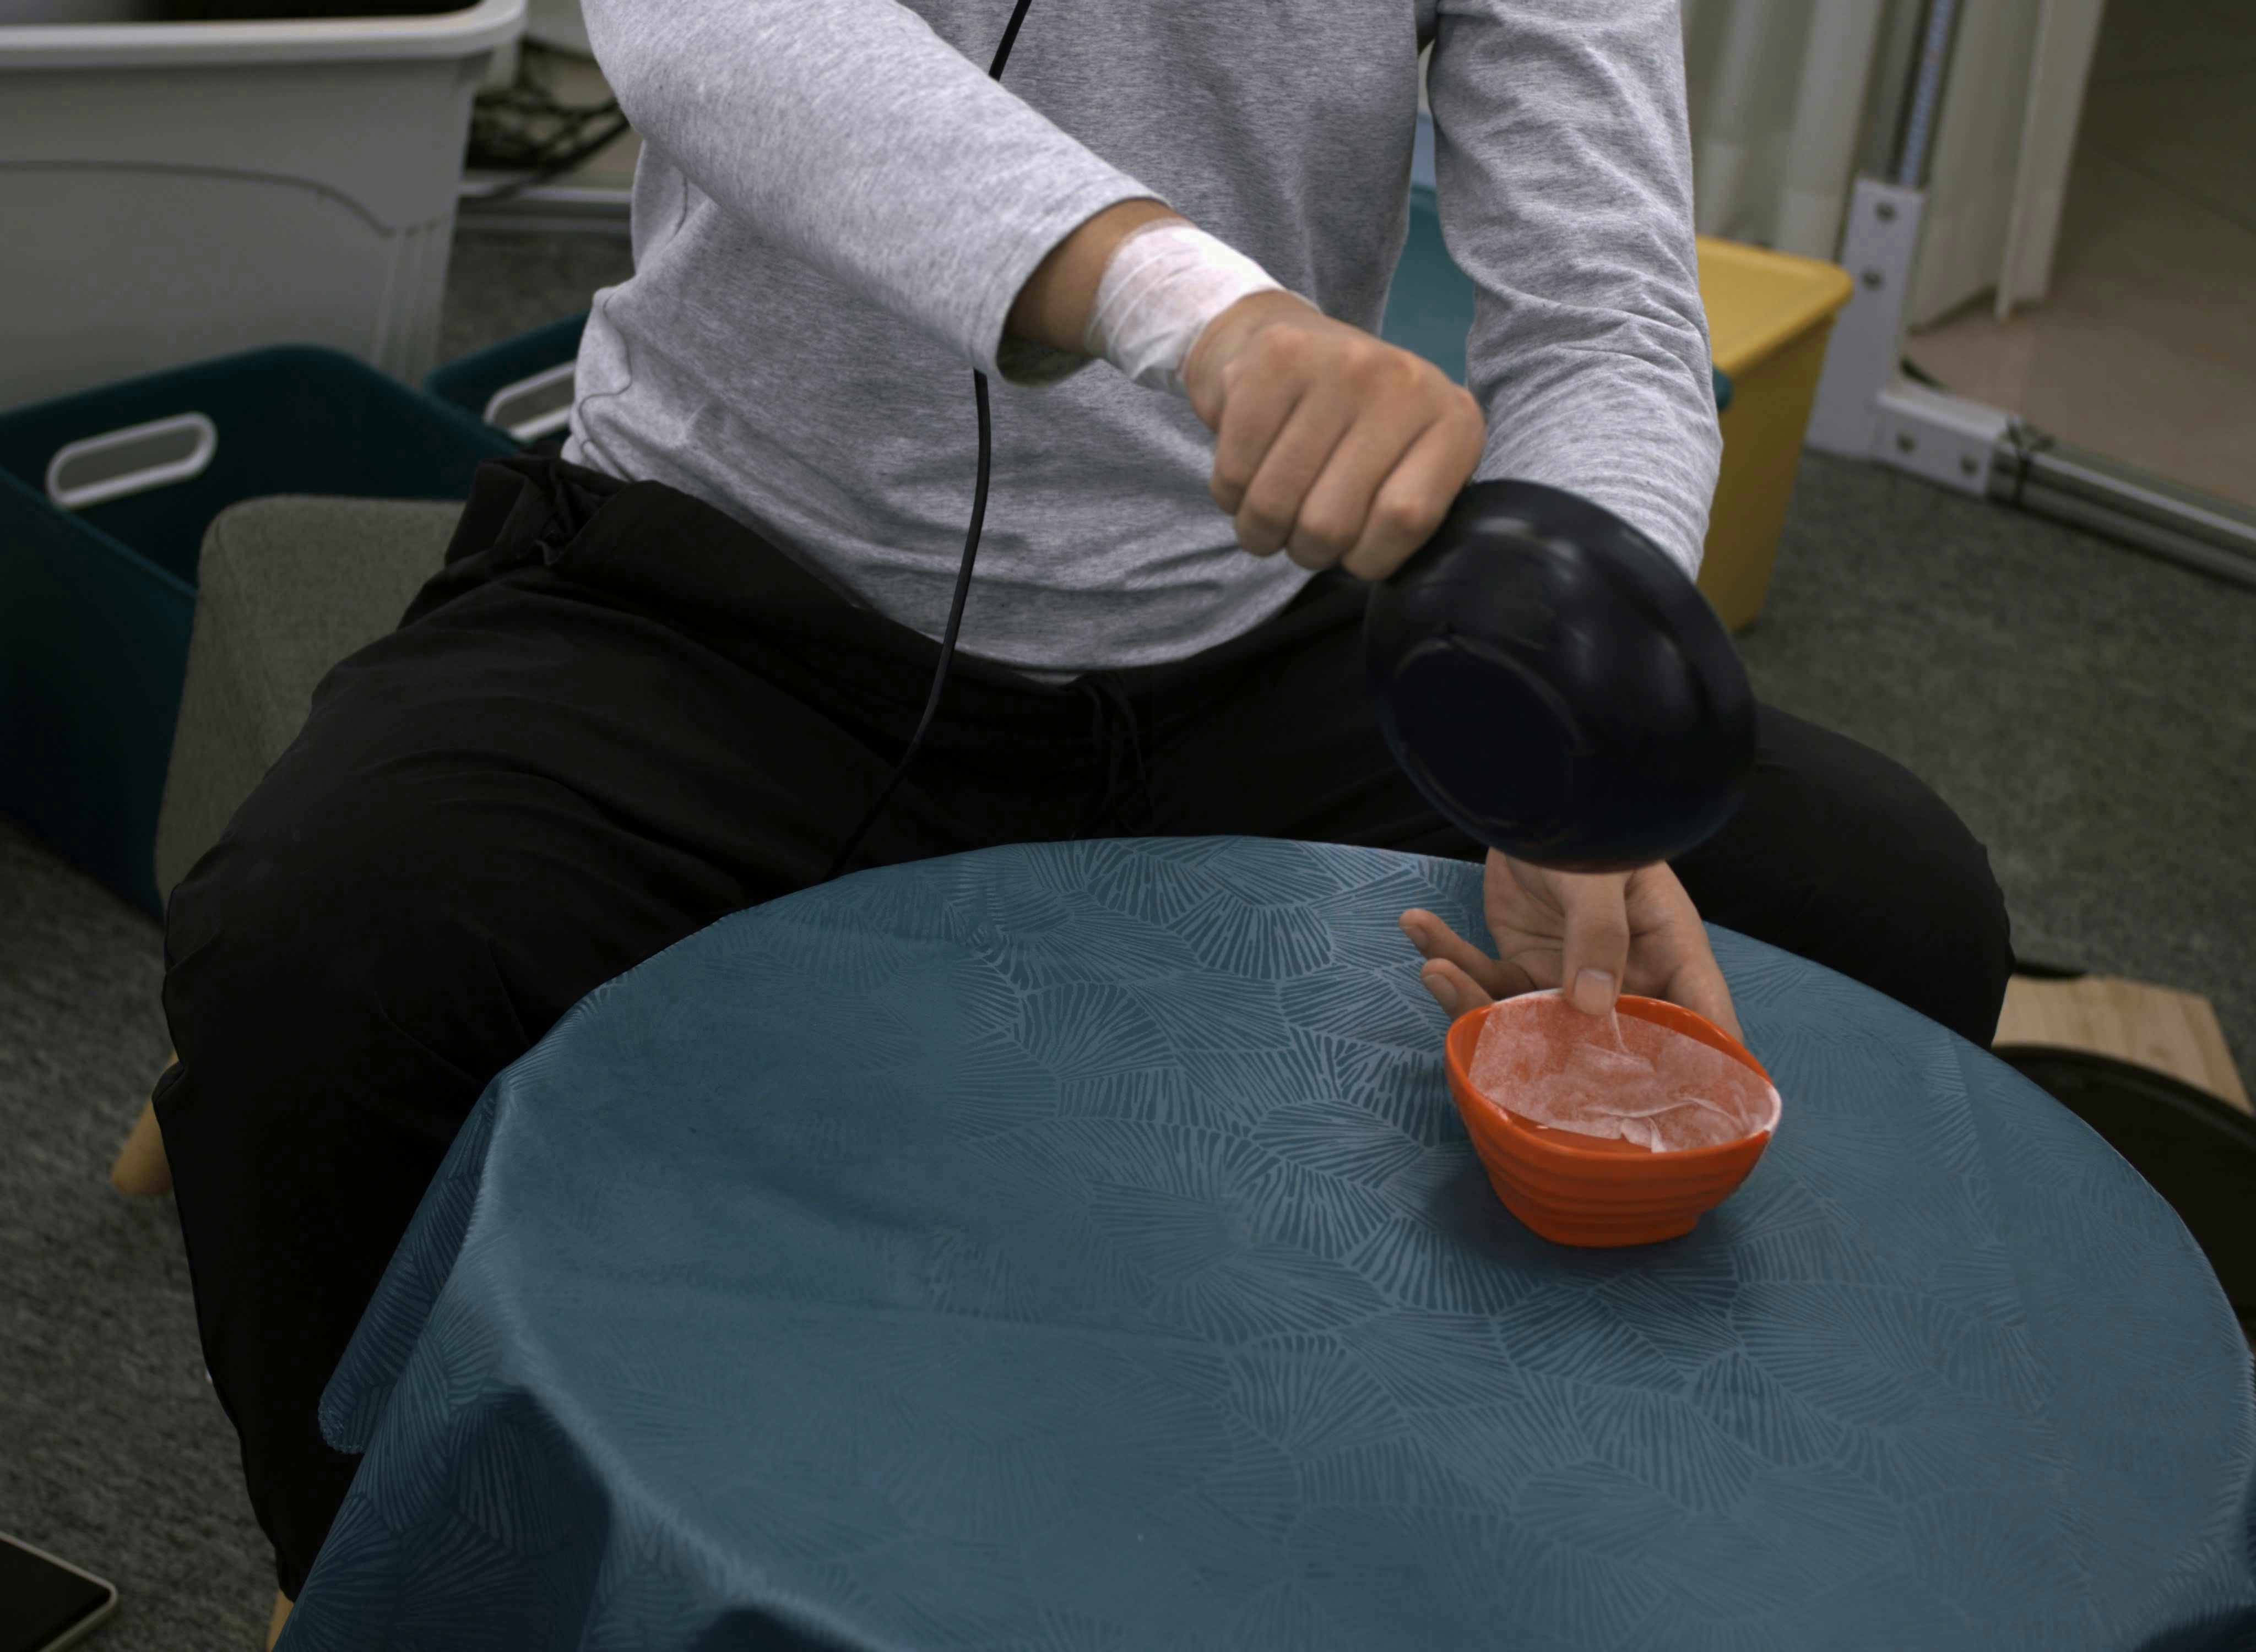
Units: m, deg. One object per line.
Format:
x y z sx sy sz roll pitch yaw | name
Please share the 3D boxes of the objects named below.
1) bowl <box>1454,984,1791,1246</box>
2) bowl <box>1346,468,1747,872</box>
0.166 0.104 1.822 0.118 0.051 0.119 5 30 -3 | bowl
0.120 -0.039 1.653 0.141 0.139 0.050 22 43 28 | bowl
